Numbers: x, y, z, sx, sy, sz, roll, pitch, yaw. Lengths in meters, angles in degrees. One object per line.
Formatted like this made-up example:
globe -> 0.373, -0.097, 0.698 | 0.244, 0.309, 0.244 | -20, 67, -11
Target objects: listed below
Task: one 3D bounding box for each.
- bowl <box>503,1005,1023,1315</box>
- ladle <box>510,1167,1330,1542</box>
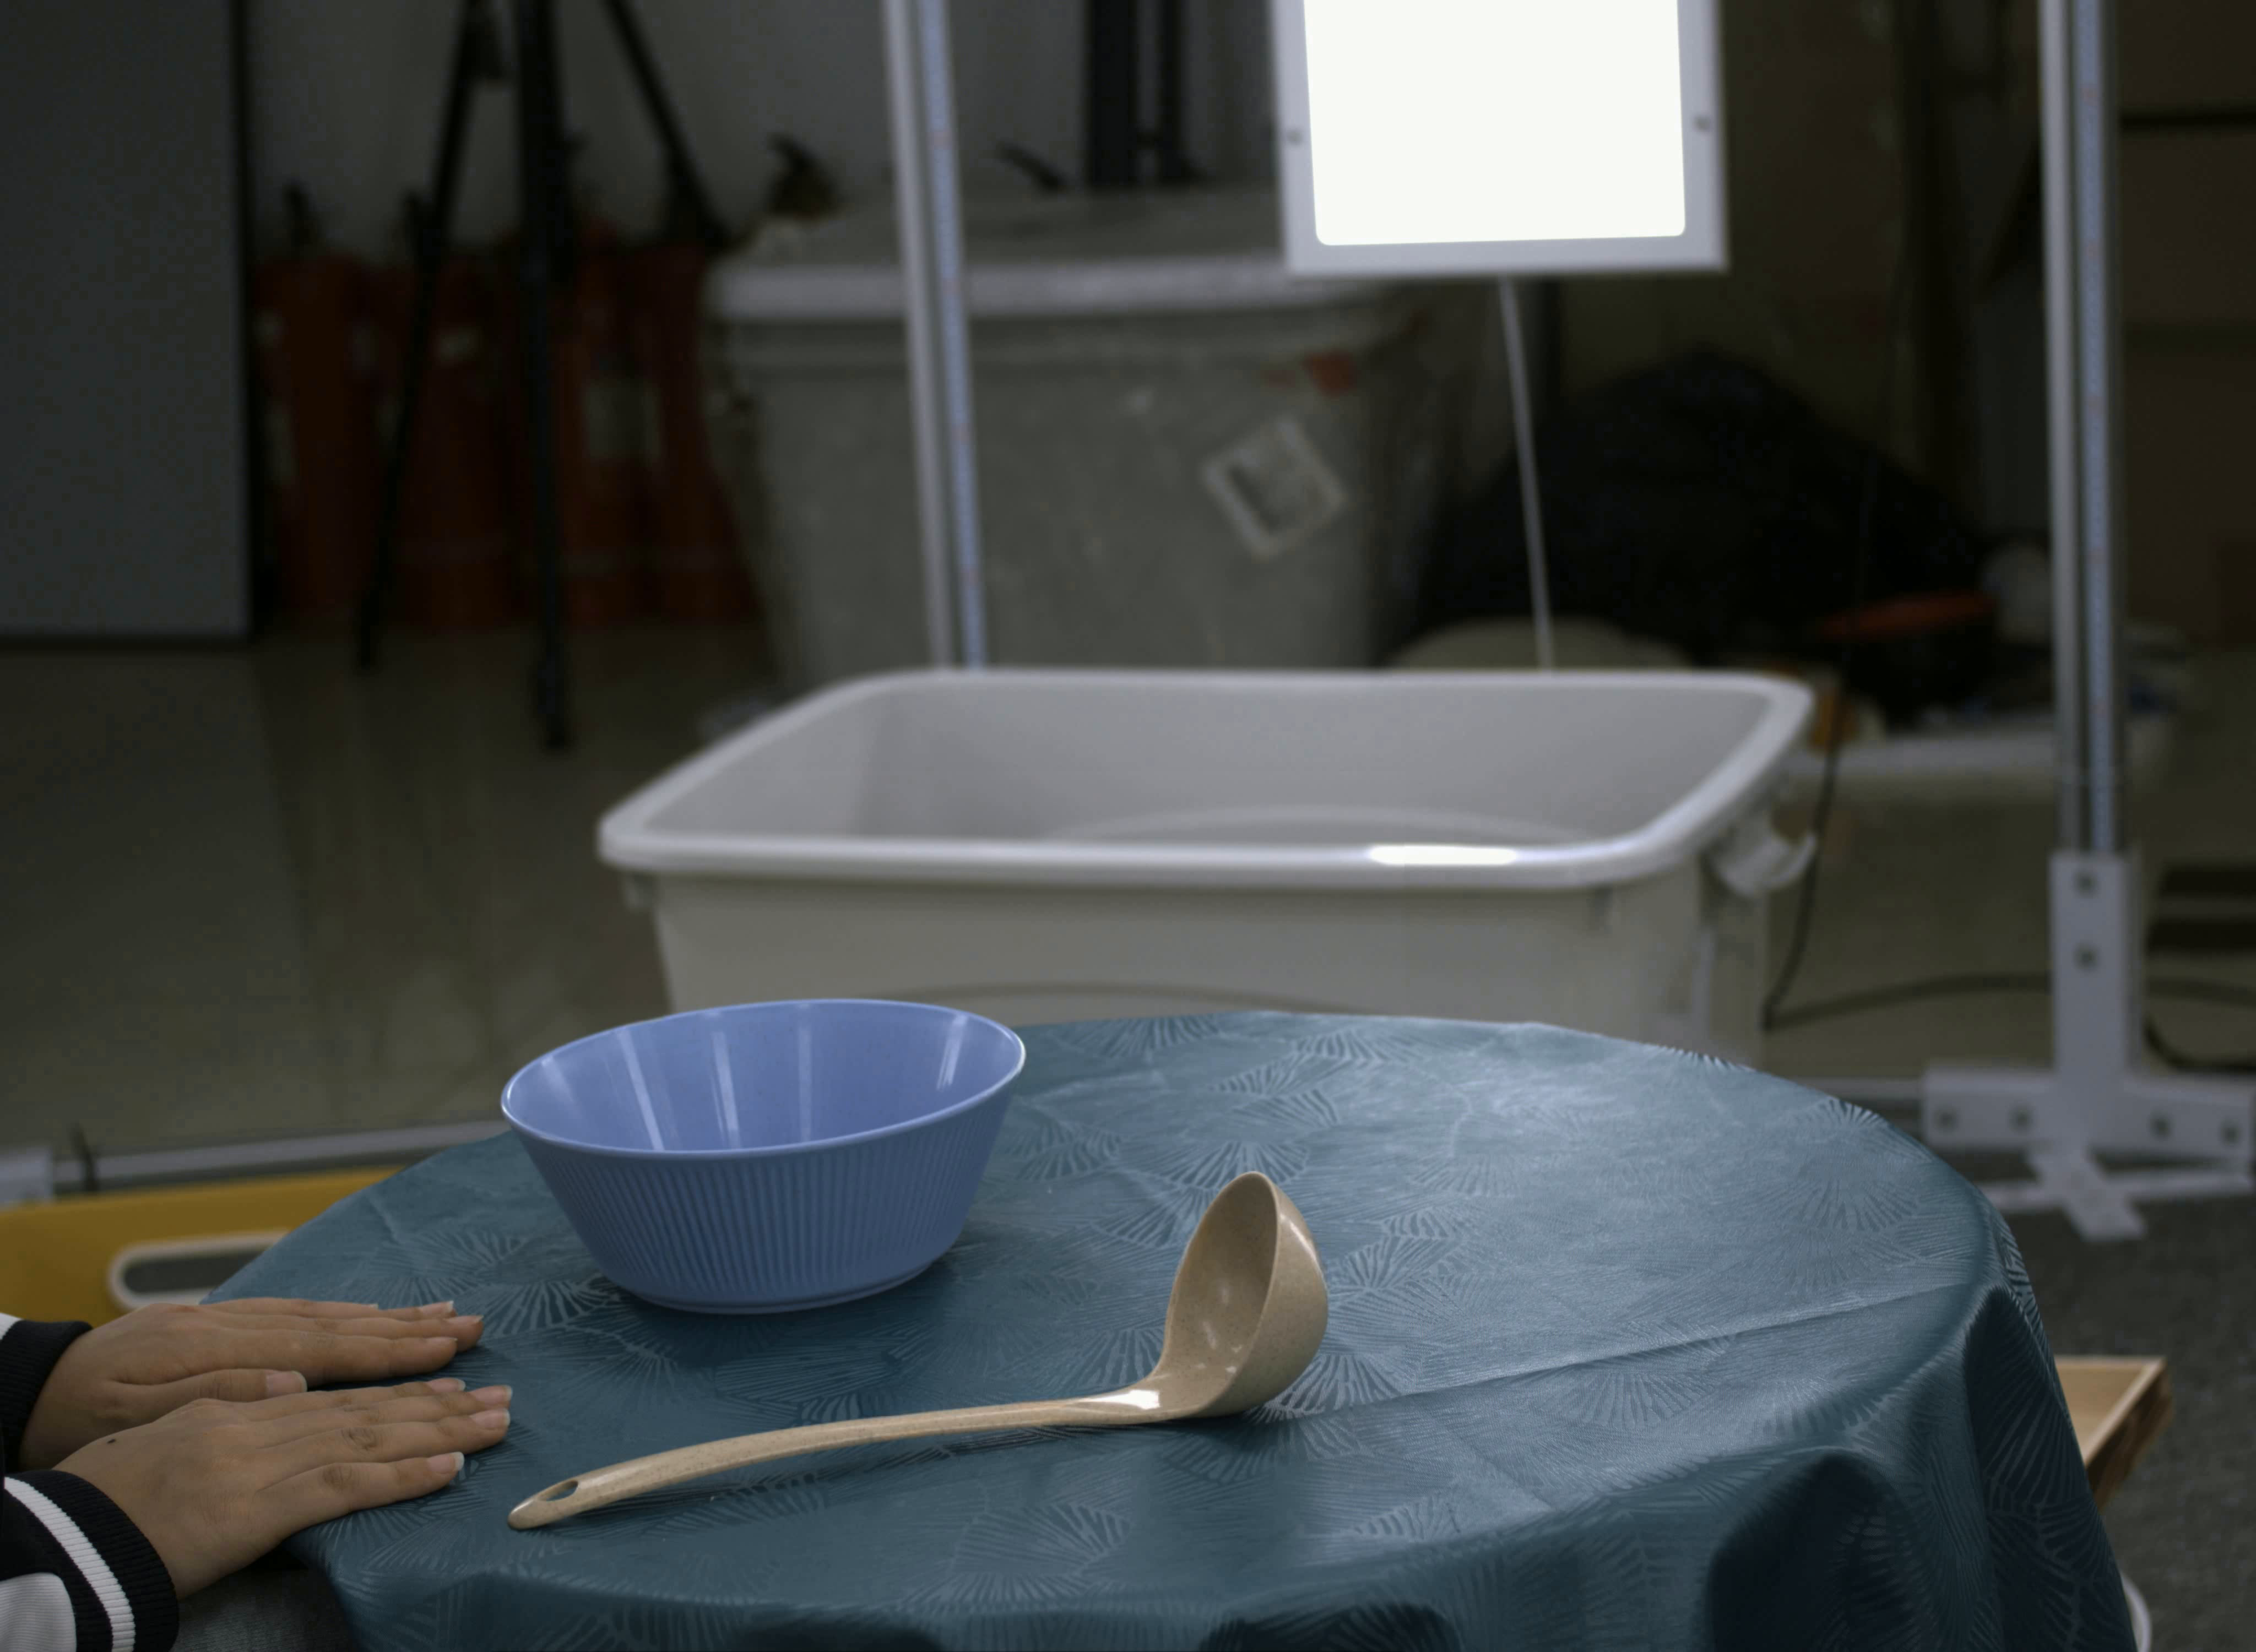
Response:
bowl -> -0.119, 0.114, 1.846 | 0.175, 0.070, 0.176 | -5, 13, 0
ladle -> -0.063, 0.156, 1.648 | 0.251, 0.073, 0.073 | -9, 19, -14
